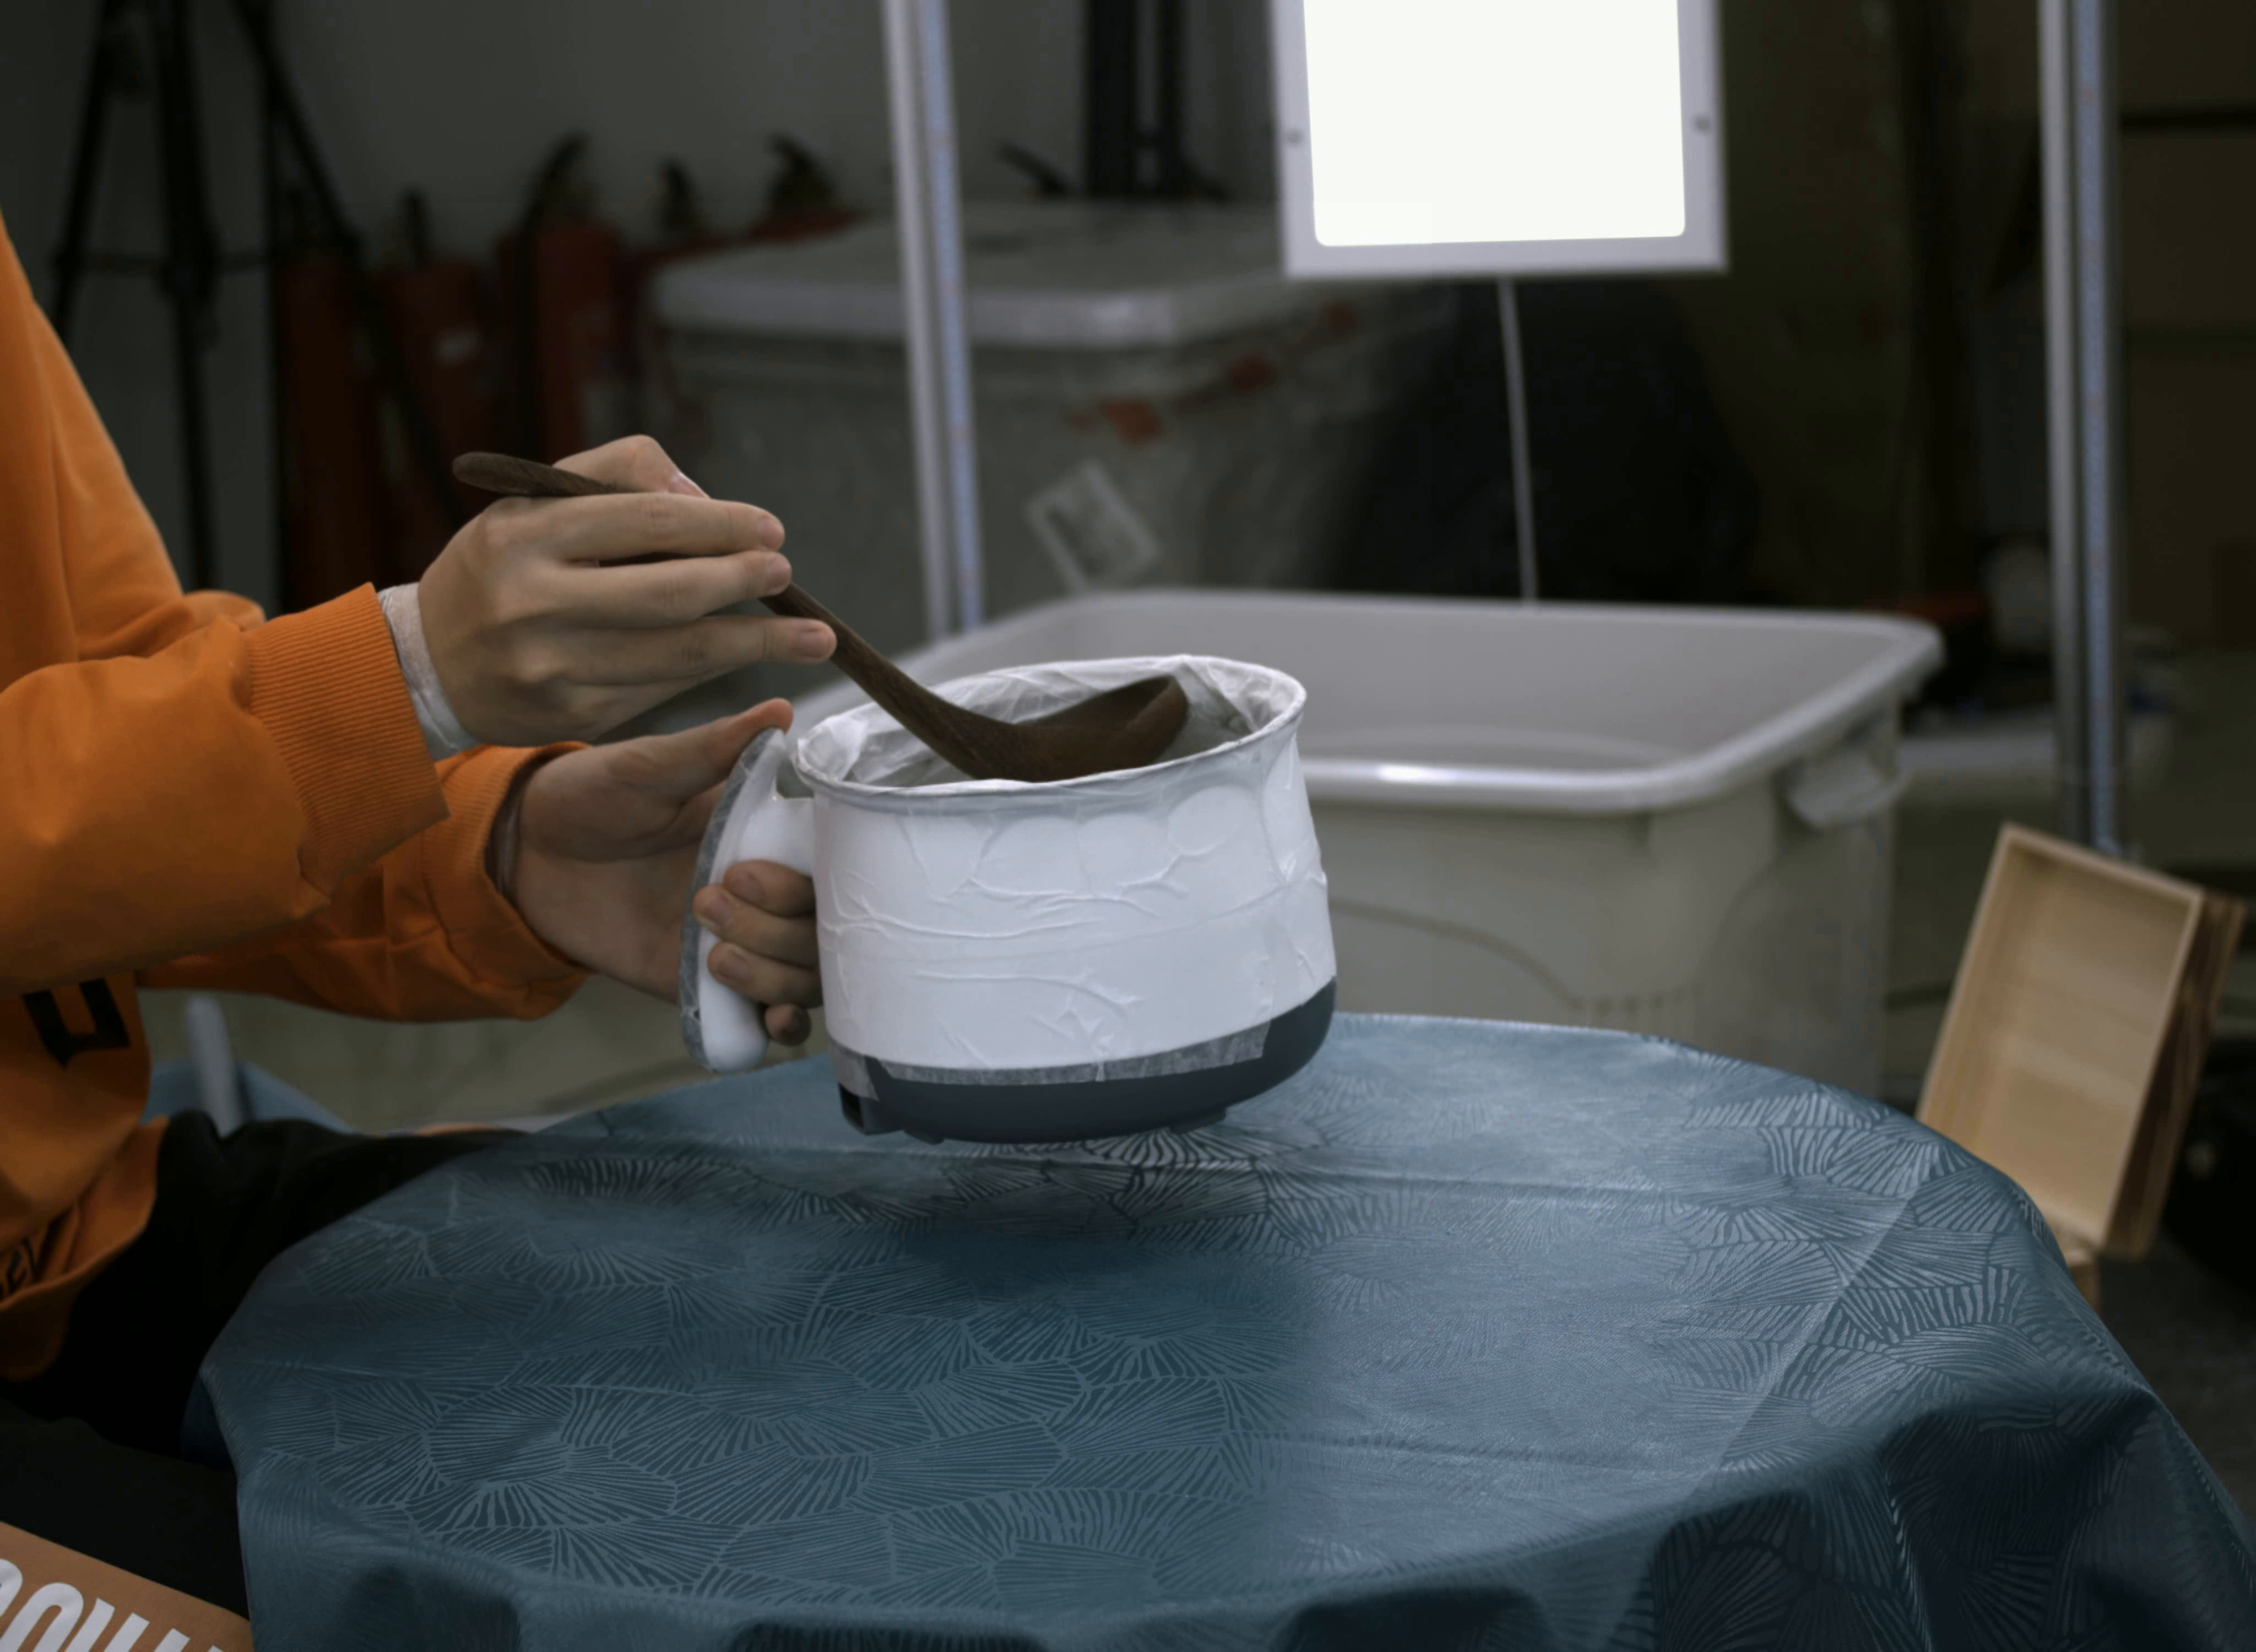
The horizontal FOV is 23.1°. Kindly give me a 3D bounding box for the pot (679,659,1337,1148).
[{"bbox_3d":[-0.046,0.029,1.892,0.236,0.137,0.176,-5,14,15],"label":"pot"}]

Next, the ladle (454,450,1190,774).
[{"bbox_3d":[-0.099,-0.084,1.866,0.270,0.071,0.077,31,-21,-22],"label":"ladle"}]
